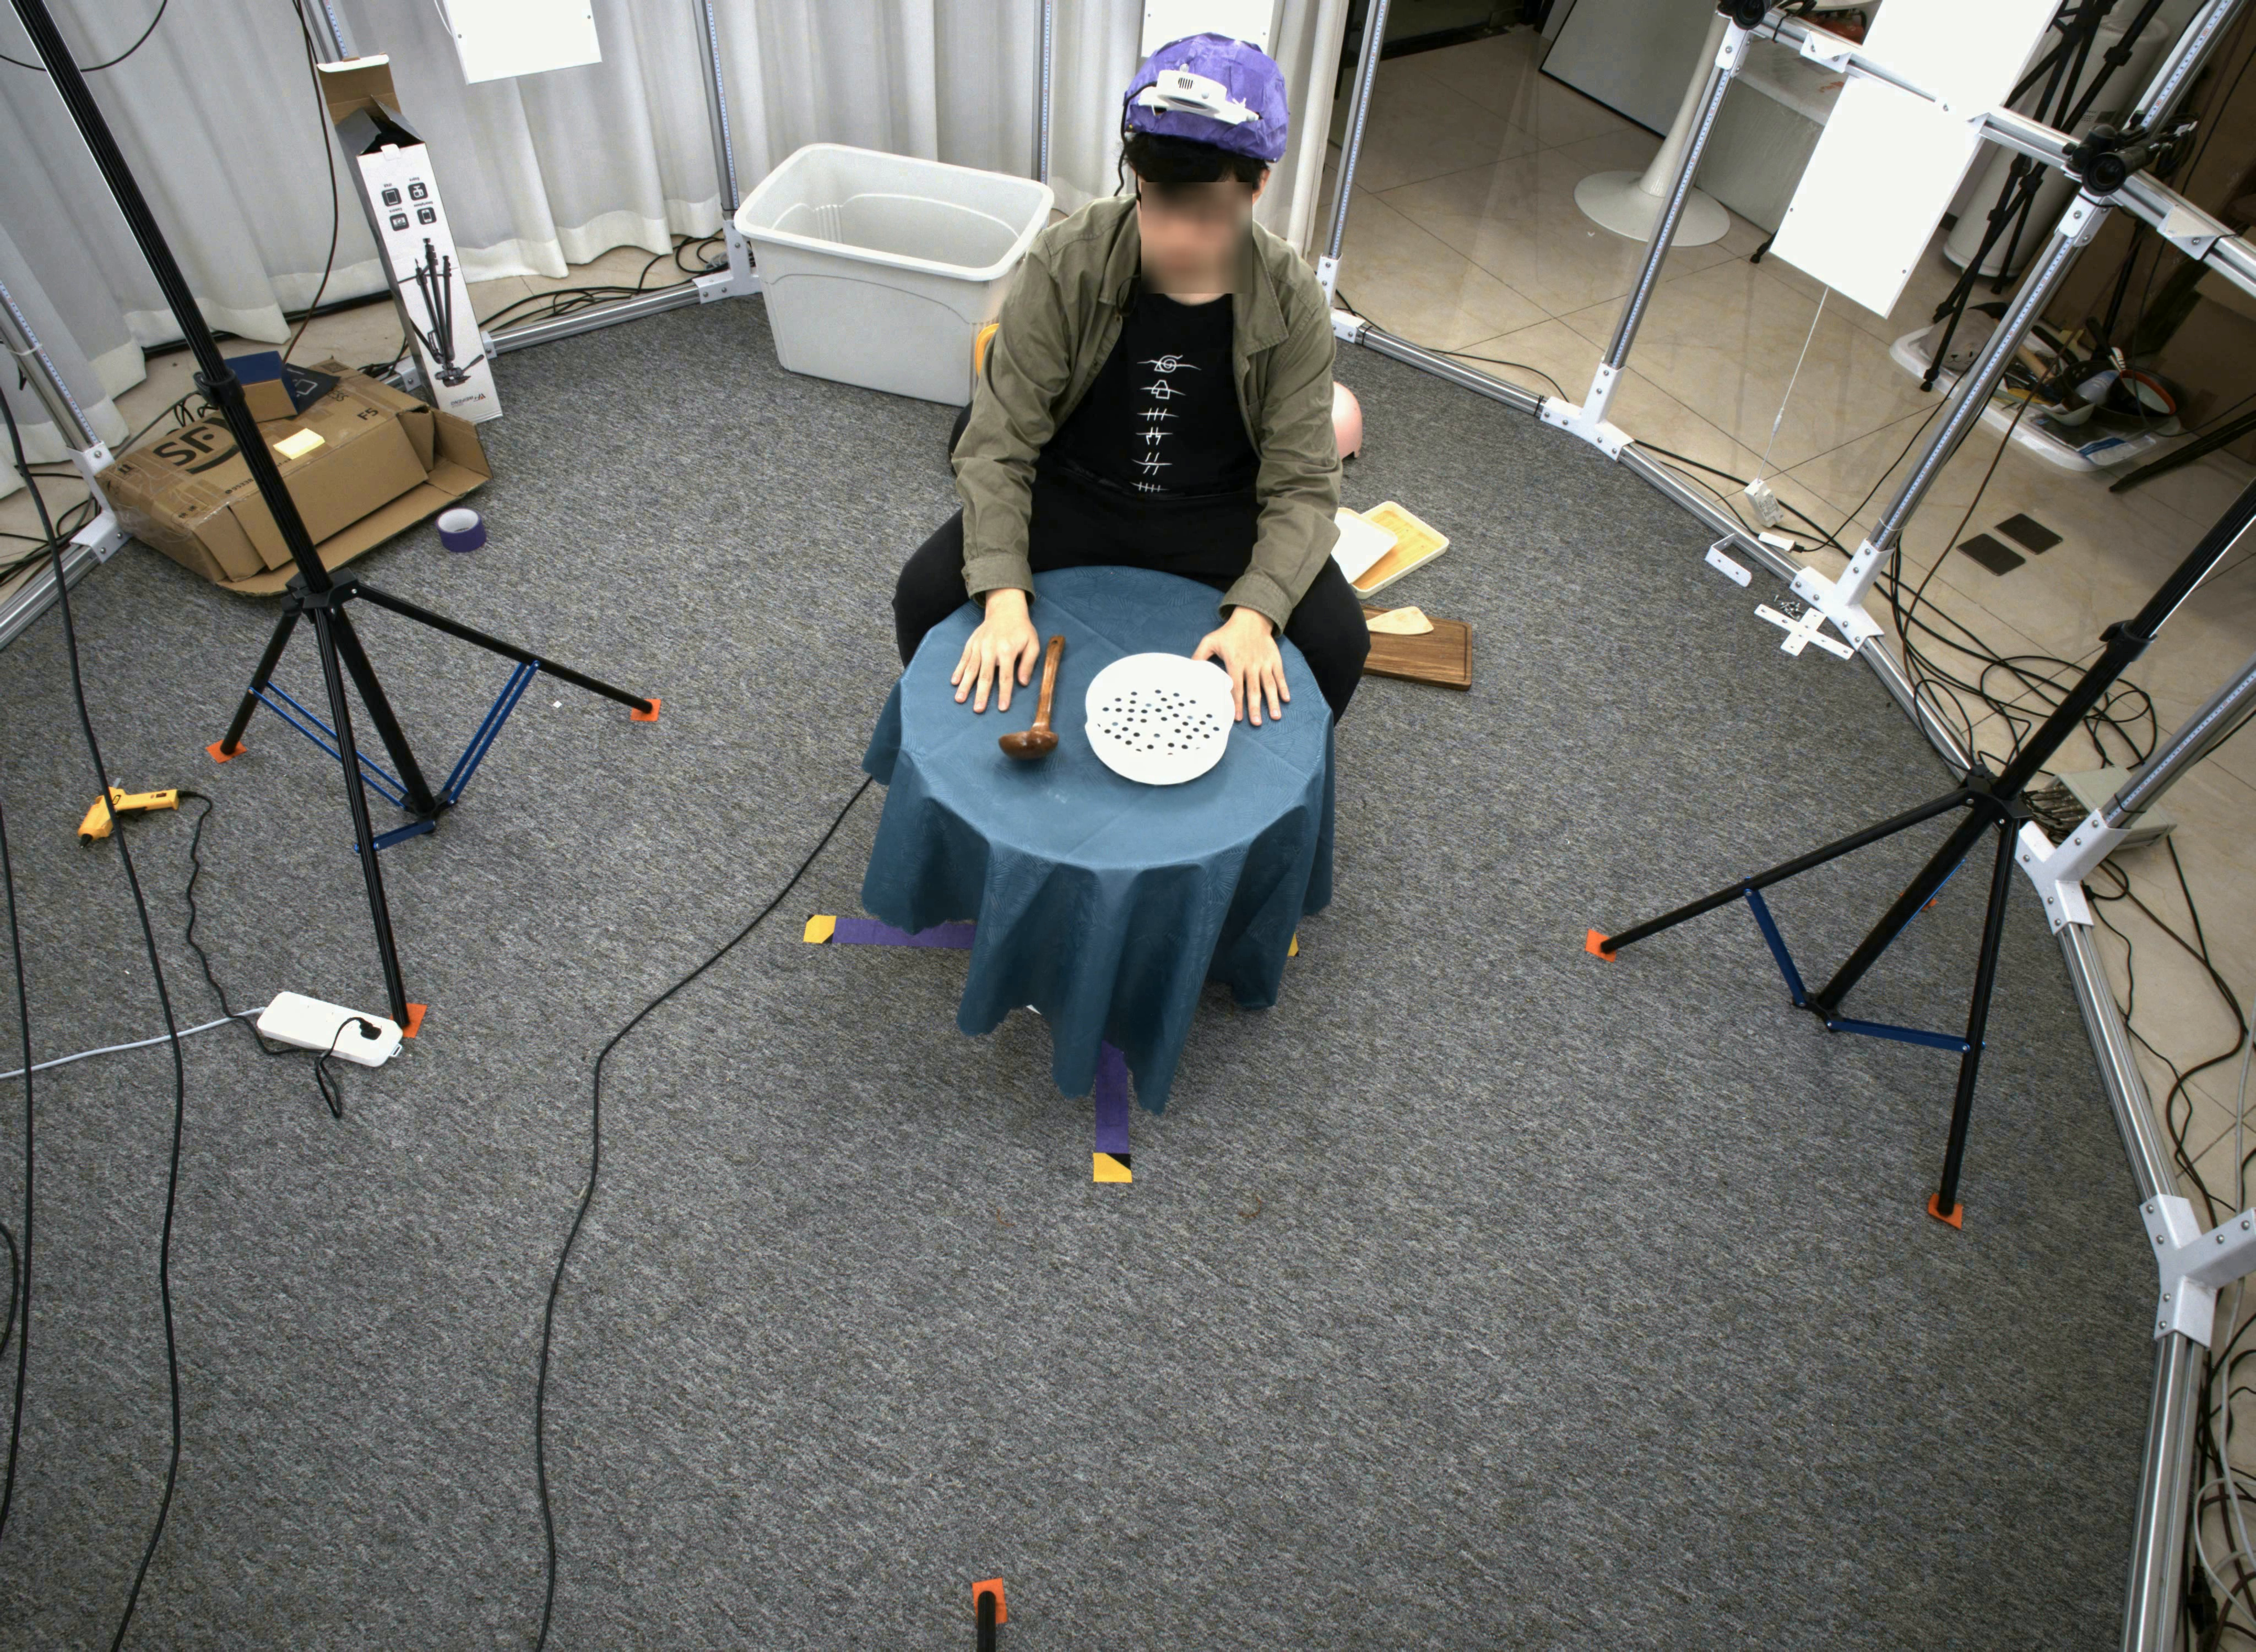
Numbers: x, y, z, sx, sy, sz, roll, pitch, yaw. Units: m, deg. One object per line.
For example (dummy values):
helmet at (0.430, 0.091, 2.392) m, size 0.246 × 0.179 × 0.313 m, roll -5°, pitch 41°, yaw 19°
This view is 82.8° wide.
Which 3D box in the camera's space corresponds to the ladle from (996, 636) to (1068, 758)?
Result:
ladle at (-0.123, -0.194, 1.769) m, size 0.082 × 0.075 × 0.281 m, roll -3°, pitch 47°, yaw 12°

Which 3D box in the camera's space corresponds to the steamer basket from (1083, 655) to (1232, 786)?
steamer basket at (0.038, -0.143, 1.743) m, size 0.232 × 0.067 × 0.205 m, roll -30°, pitch 58°, yaw -29°
